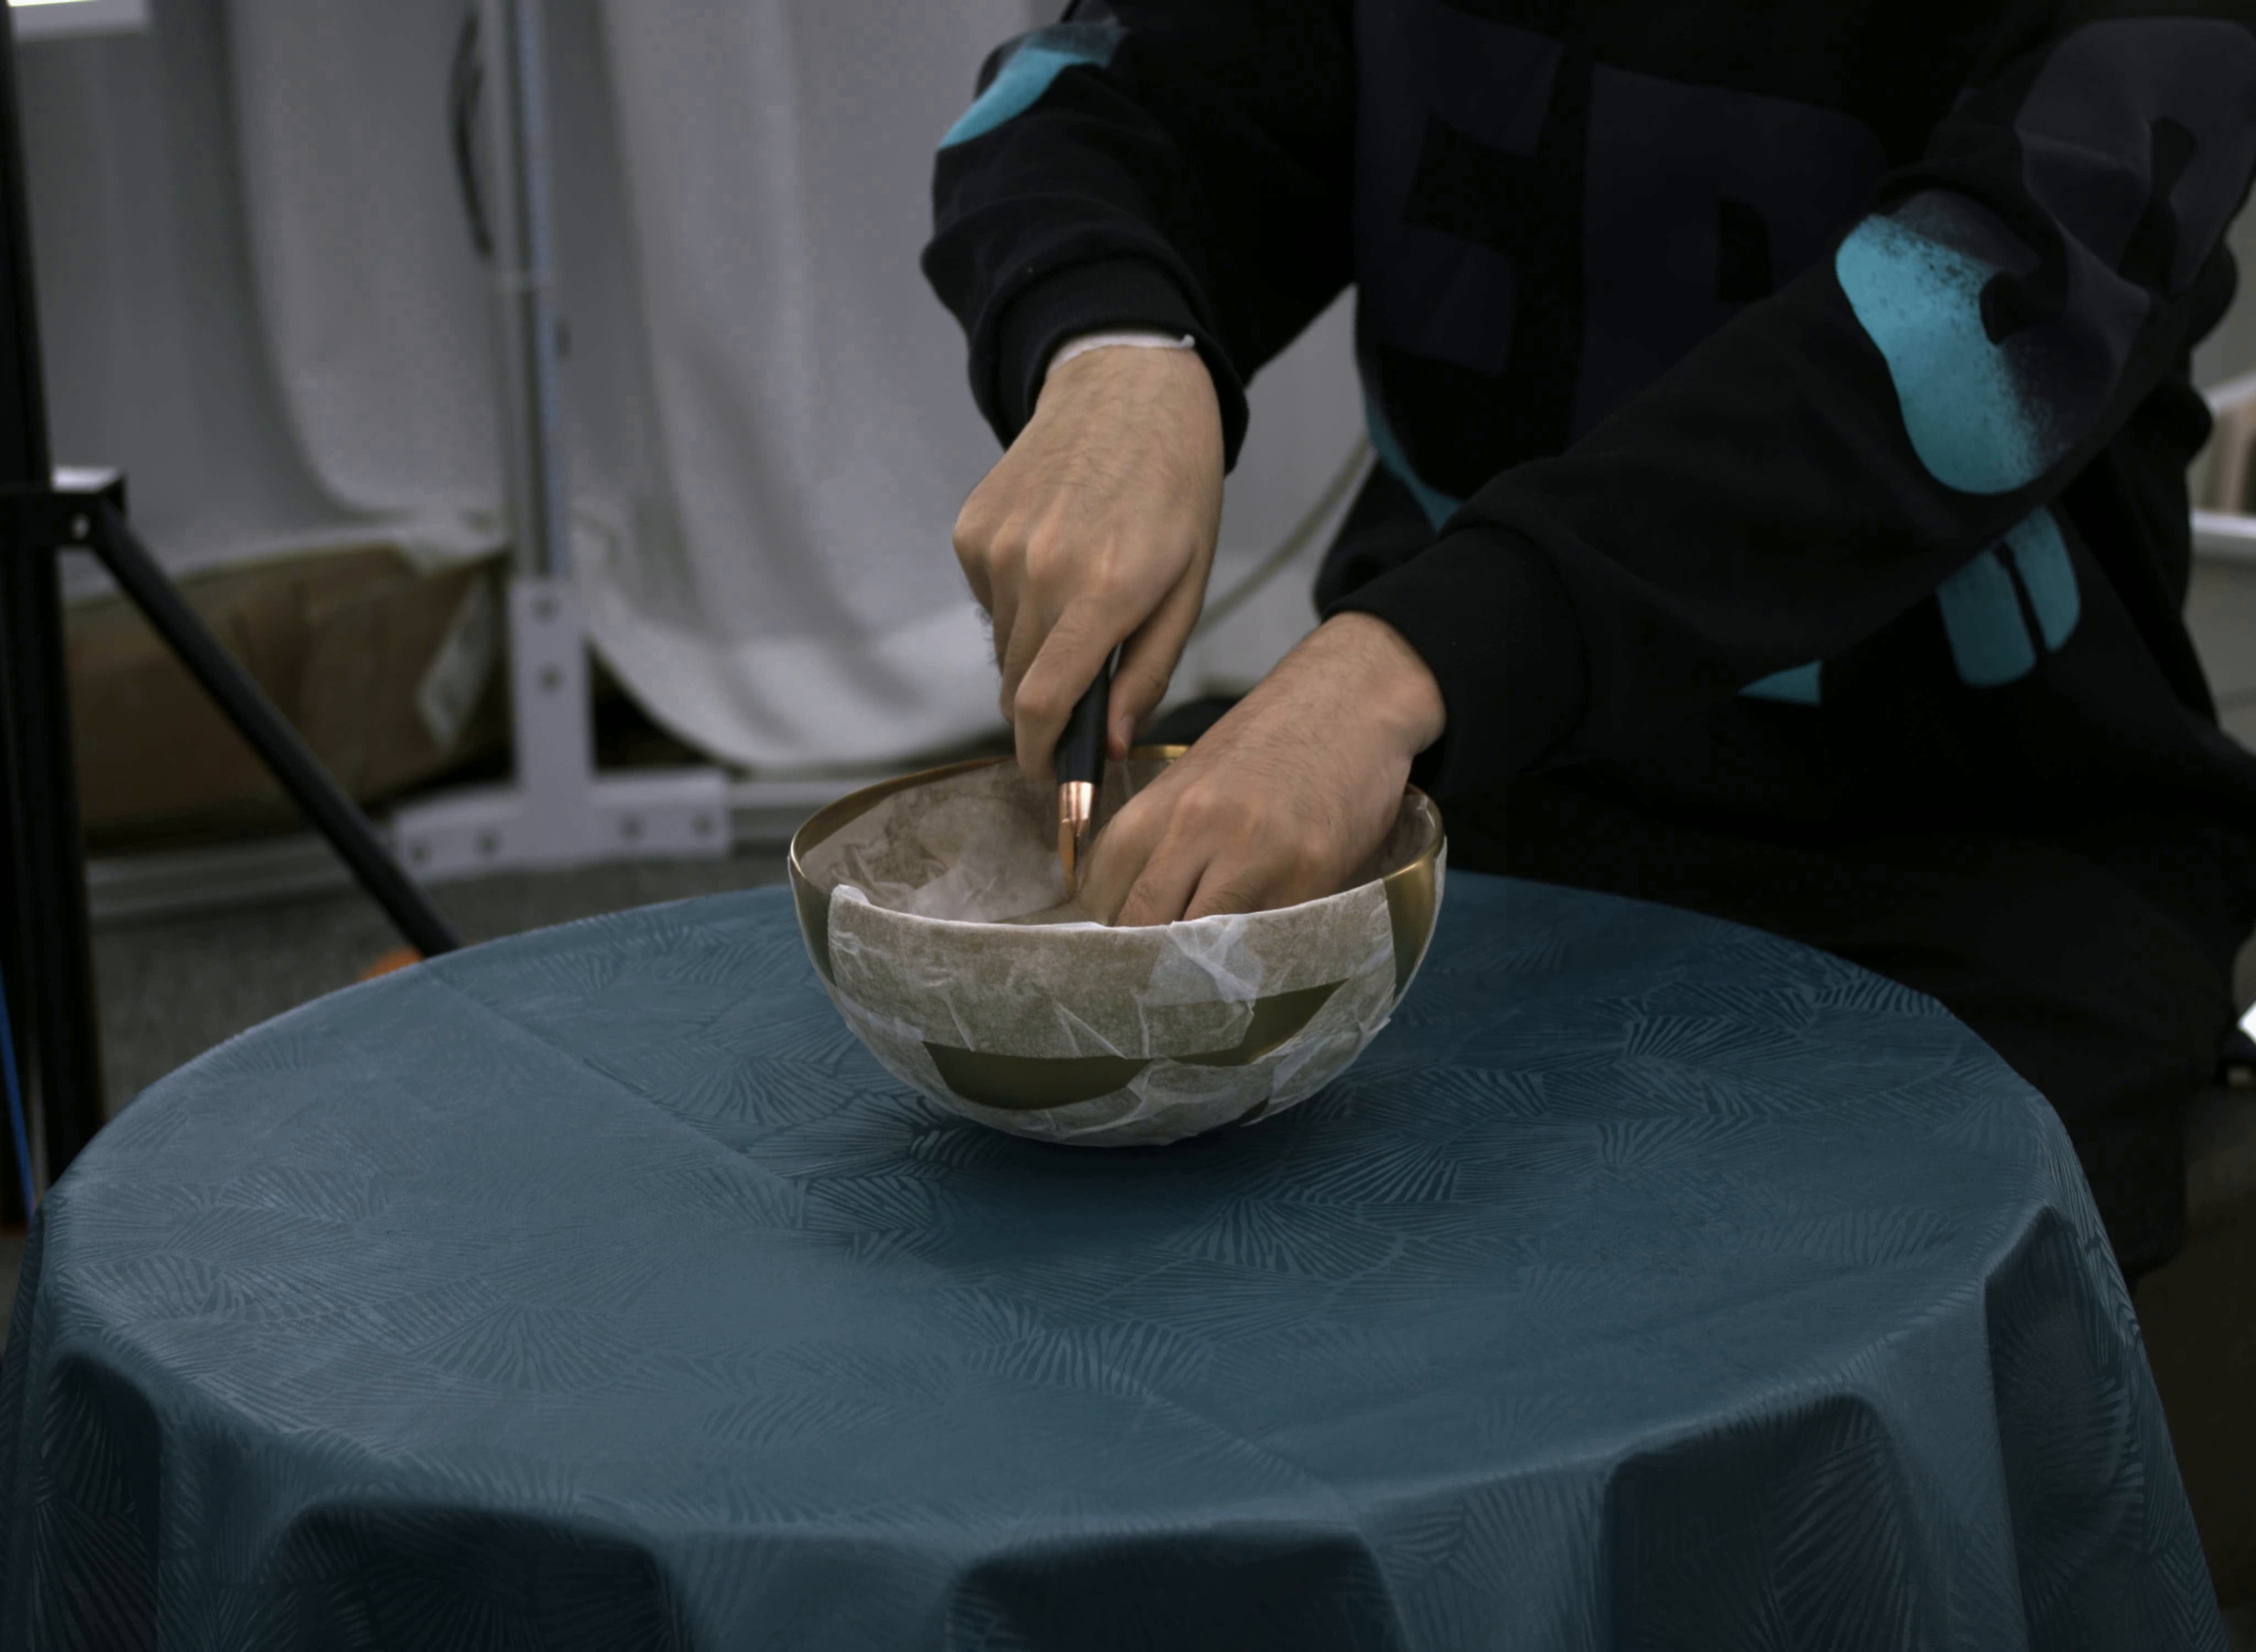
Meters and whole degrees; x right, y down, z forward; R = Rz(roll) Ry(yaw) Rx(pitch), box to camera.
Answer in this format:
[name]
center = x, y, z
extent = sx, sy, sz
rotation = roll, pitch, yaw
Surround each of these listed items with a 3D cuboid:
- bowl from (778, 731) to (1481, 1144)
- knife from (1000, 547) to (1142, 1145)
[bowl]
center = 0.001, 0.042, 1.616
extent = 0.213, 0.094, 0.216
rotation = -4, 15, 0
[knife]
center = -0.017, 0.003, 1.640
extent = 0.026, 0.017, 0.227
rotation = -17, 46, 30
